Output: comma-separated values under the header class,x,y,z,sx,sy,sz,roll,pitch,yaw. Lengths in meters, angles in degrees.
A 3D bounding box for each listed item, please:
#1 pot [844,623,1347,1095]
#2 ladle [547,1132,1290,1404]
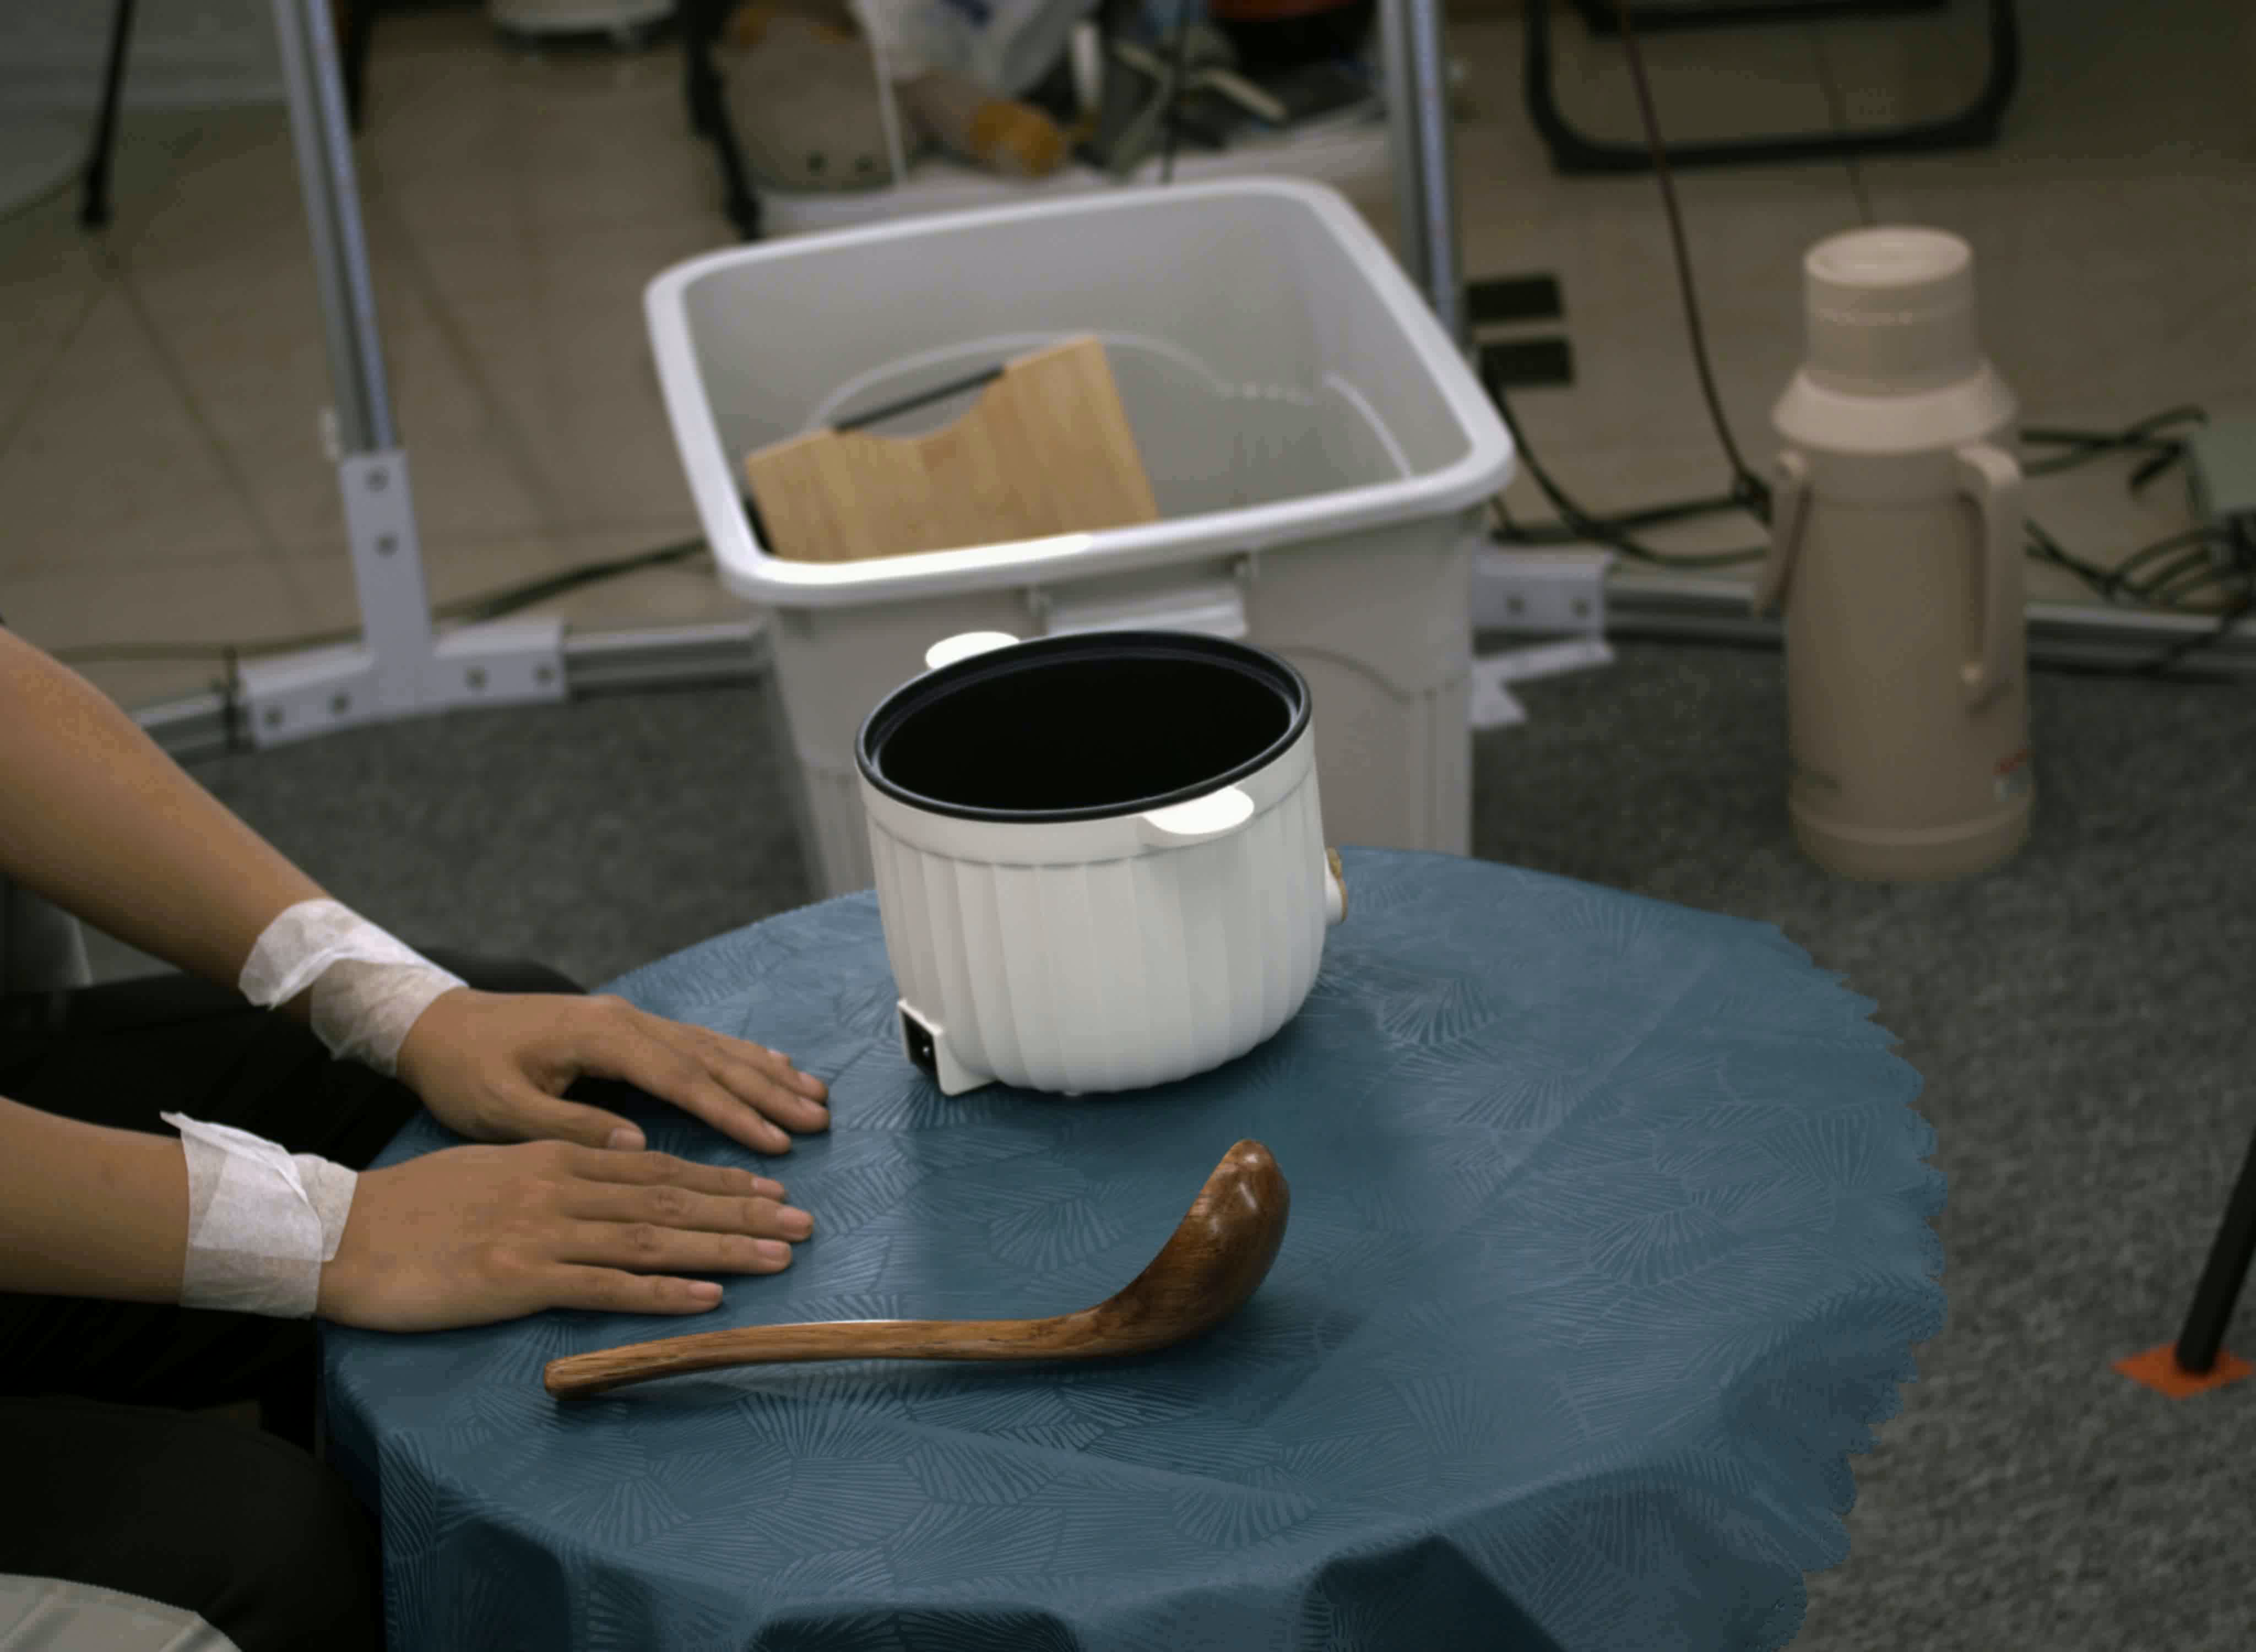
class,x,y,z,sx,sy,sz,roll,pitch,yaw
pot,-0.007,0.015,2.252,0.189,0.145,0.237,-21,30,-21
ladle,-0.077,0.158,2.044,0.273,0.076,0.083,-5,-16,7
